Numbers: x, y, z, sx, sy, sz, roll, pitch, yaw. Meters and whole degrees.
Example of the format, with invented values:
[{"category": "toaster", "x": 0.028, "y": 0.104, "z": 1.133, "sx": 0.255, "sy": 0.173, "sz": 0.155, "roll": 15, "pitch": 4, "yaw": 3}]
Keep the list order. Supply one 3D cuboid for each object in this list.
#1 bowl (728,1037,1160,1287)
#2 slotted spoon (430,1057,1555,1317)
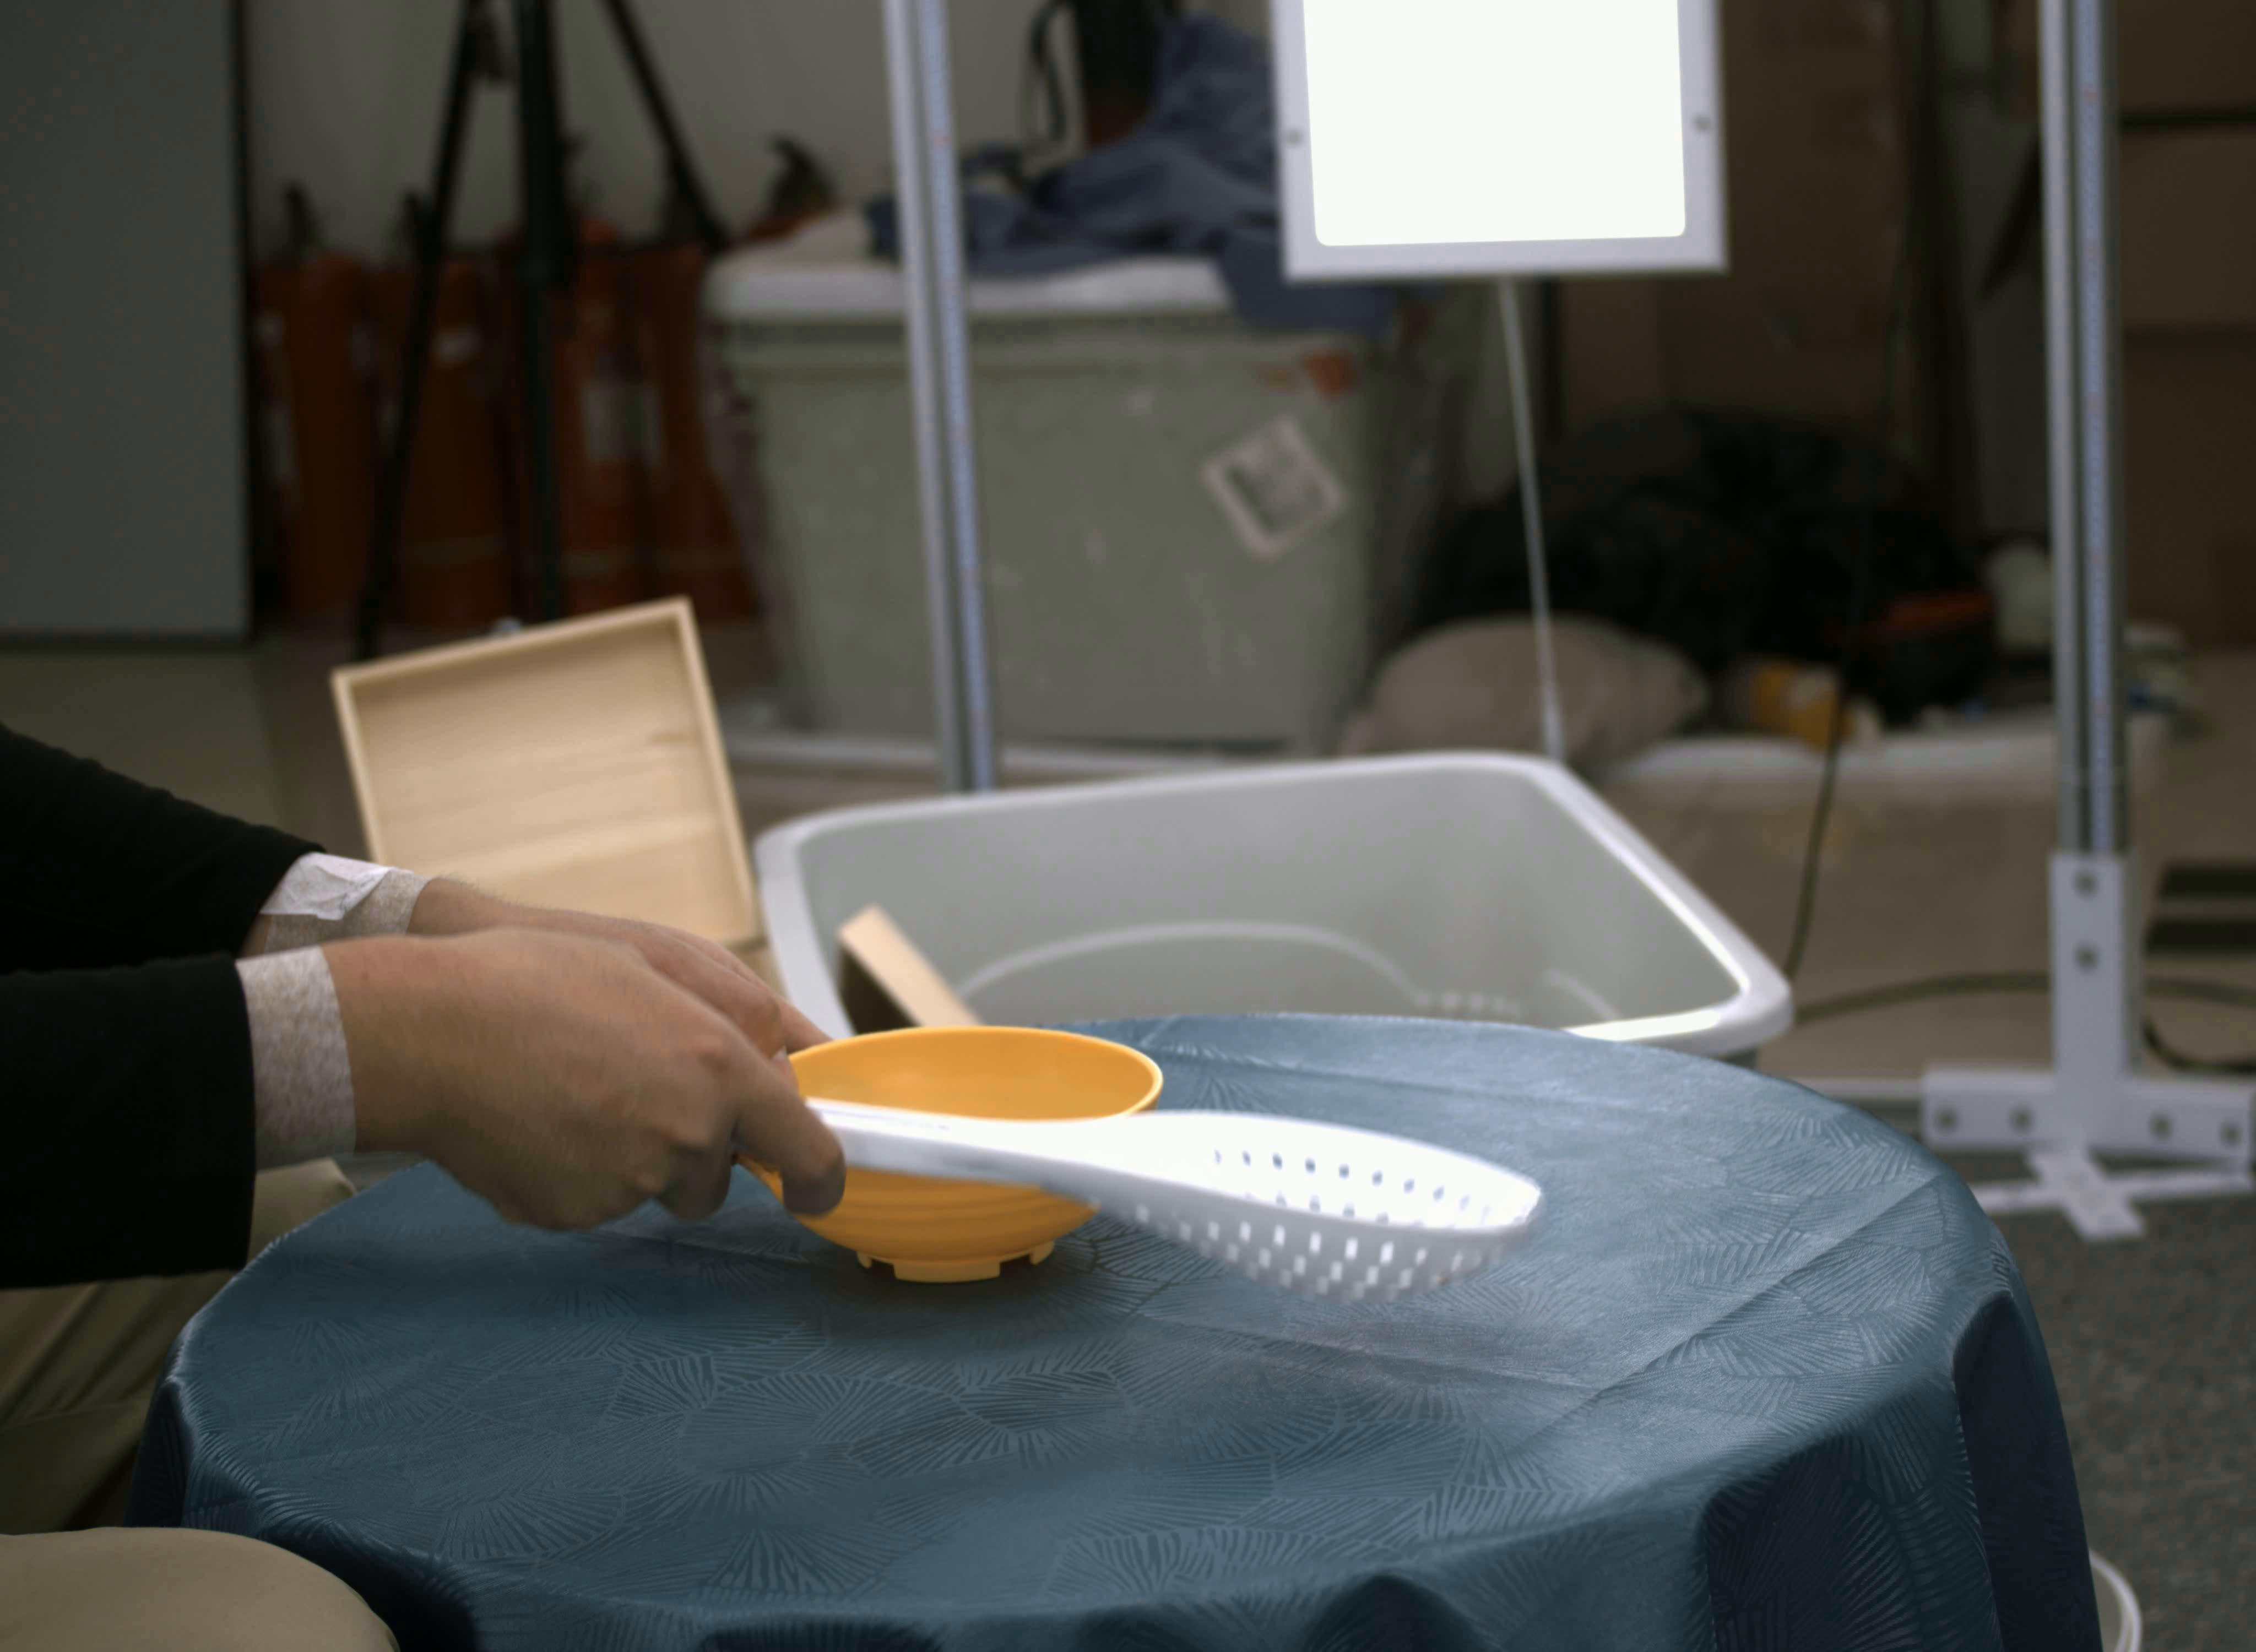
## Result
[{"category": "bowl", "x": -0.061, "y": 0.116, "z": 1.841, "sx": 0.145, "sy": 0.060, "sz": 0.145, "roll": -2, "pitch": 13, "yaw": -1}, {"category": "slotted spoon", "x": -0.039, "y": 0.102, "z": 1.667, "sx": 0.345, "sy": 0.046, "sz": 0.137, "roll": 13, "pitch": 7, "yaw": -14}]
